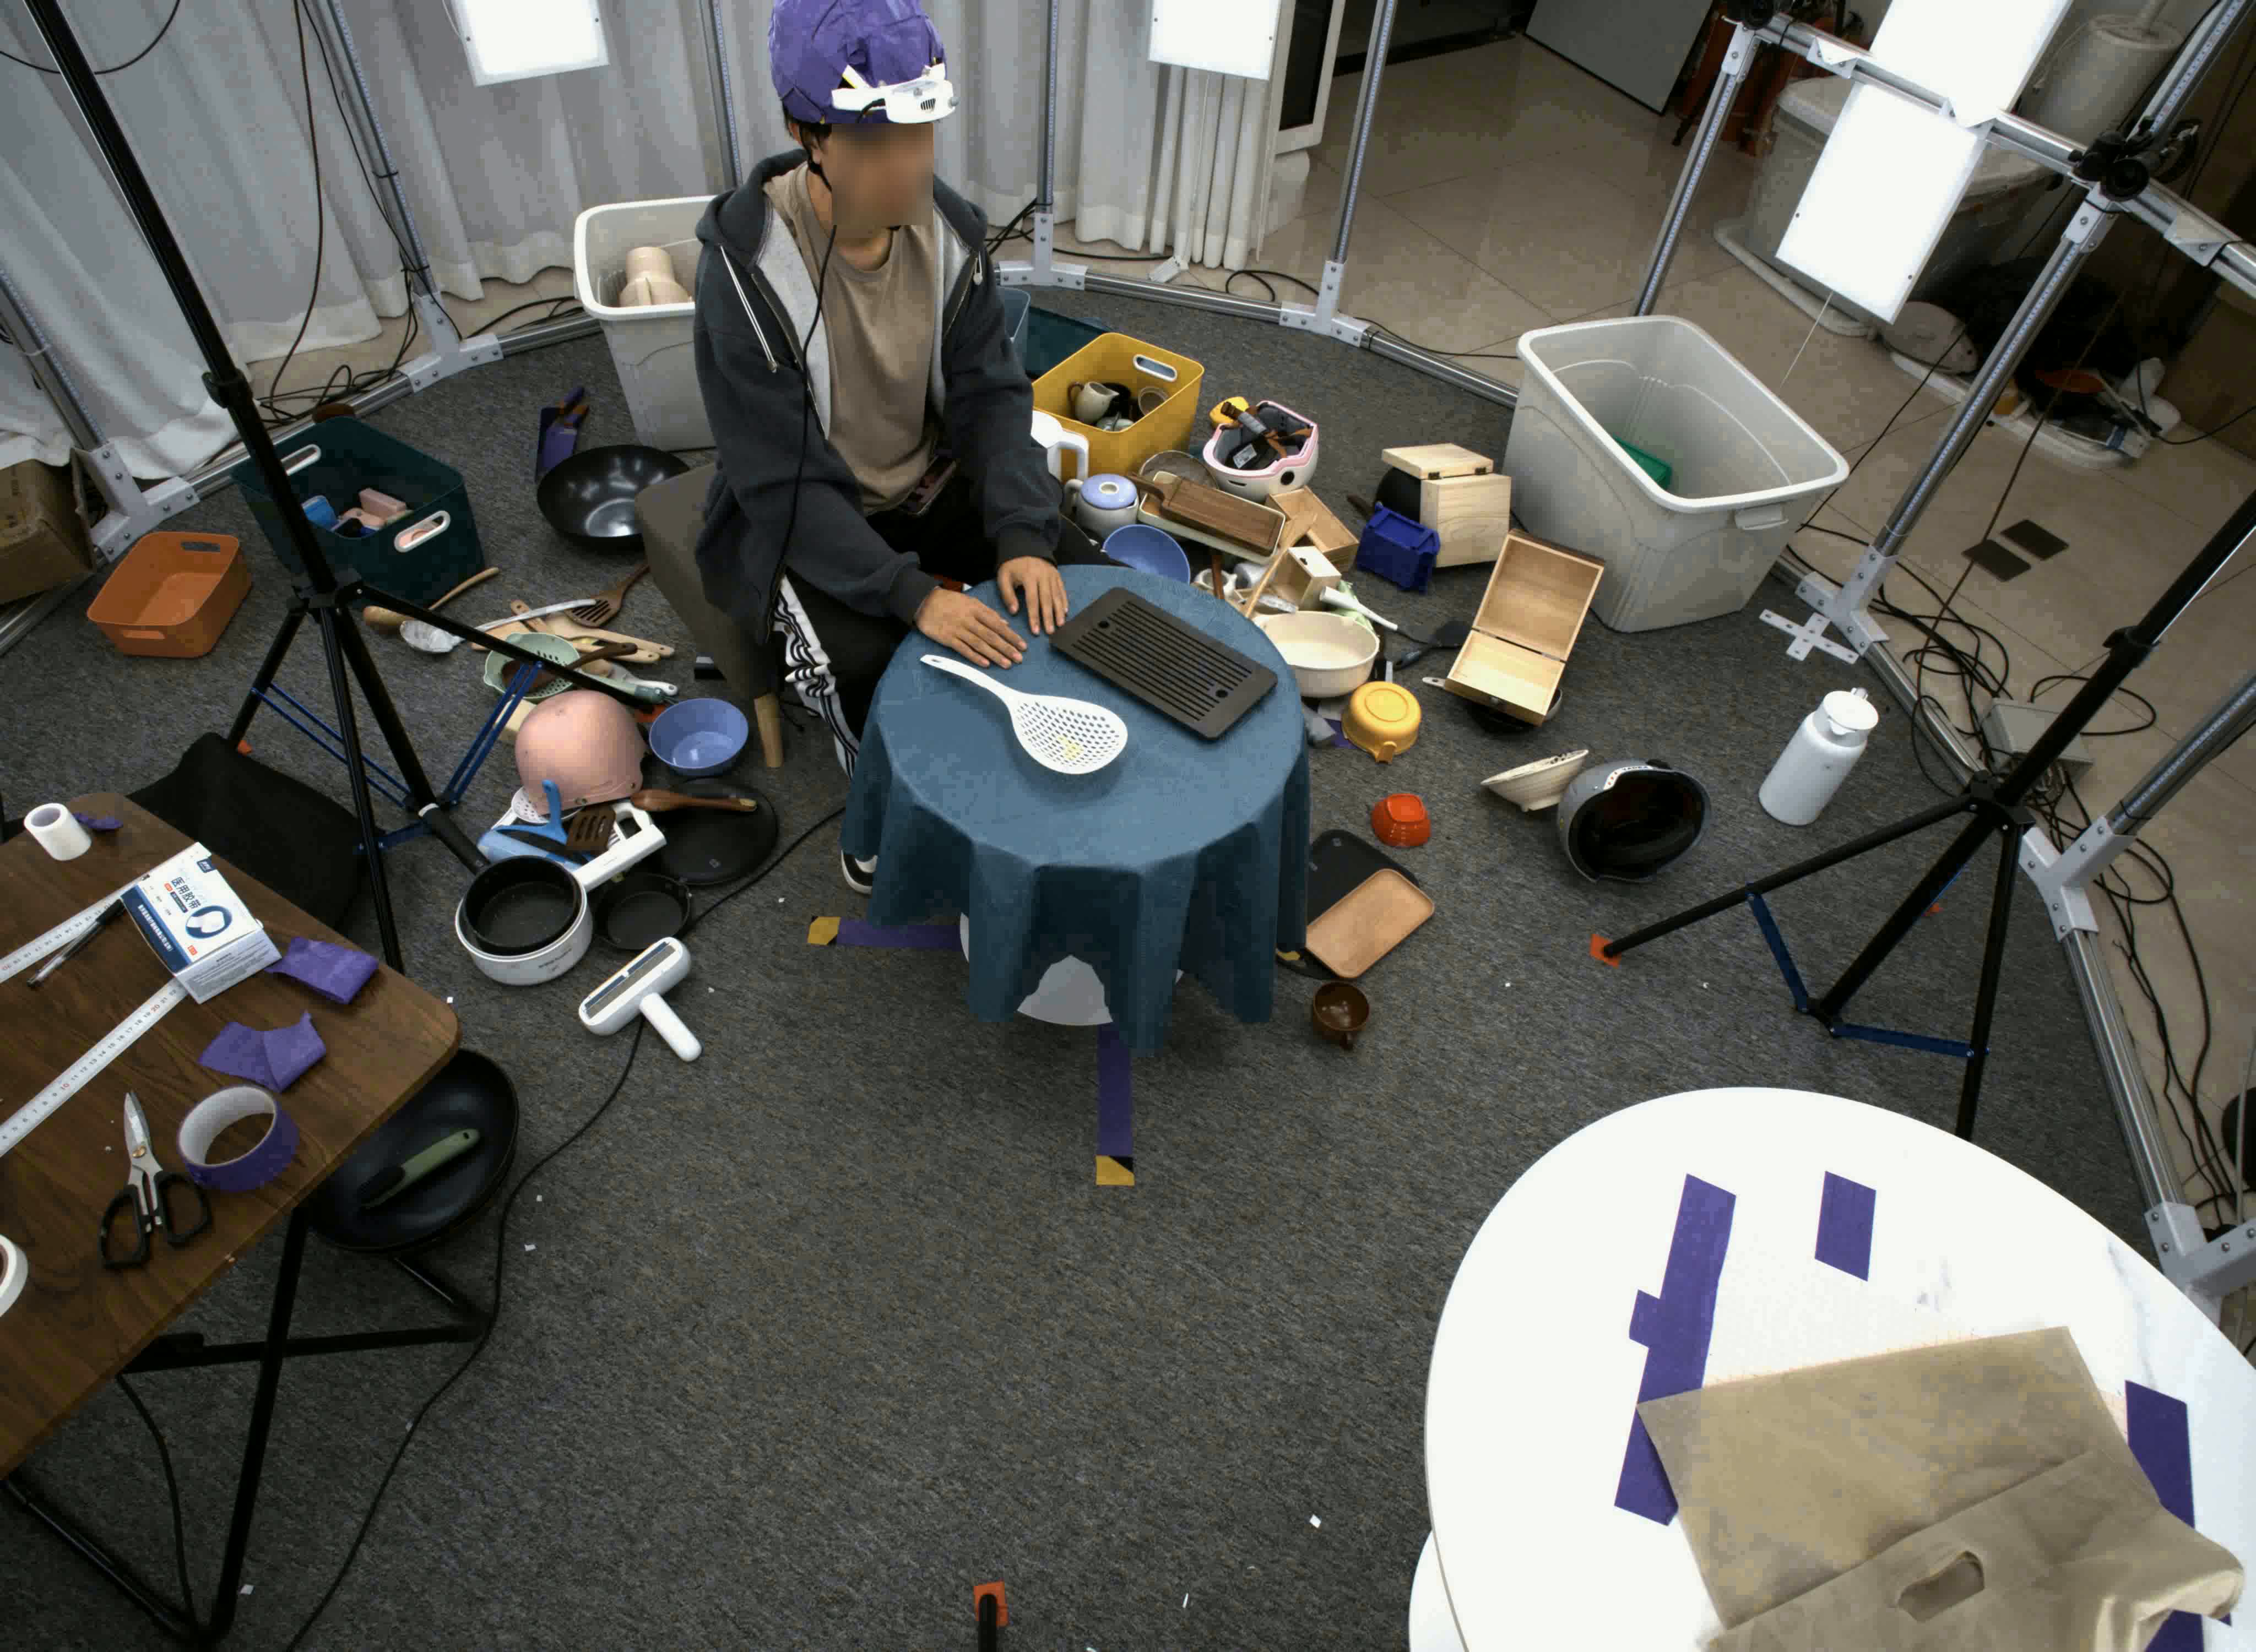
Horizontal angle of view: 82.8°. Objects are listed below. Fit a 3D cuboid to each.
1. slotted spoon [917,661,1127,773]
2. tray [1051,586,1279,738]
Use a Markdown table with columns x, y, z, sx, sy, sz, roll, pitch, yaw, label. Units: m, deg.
| x | y | z | sx | sy | sz | roll | pitch | yaw | label |
| --- | --- | --- | --- | --- | --- | --- | --- | --- | --- |
| -0.157 | -0.166 | 1.773 | 0.352 | 0.049 | 0.138 | 33 | 56 | 22 | slotted spoon |
| 0.052 | -0.241 | 1.868 | 0.309 | 0.018 | 0.172 | 33 | 54 | 23 | tray |
